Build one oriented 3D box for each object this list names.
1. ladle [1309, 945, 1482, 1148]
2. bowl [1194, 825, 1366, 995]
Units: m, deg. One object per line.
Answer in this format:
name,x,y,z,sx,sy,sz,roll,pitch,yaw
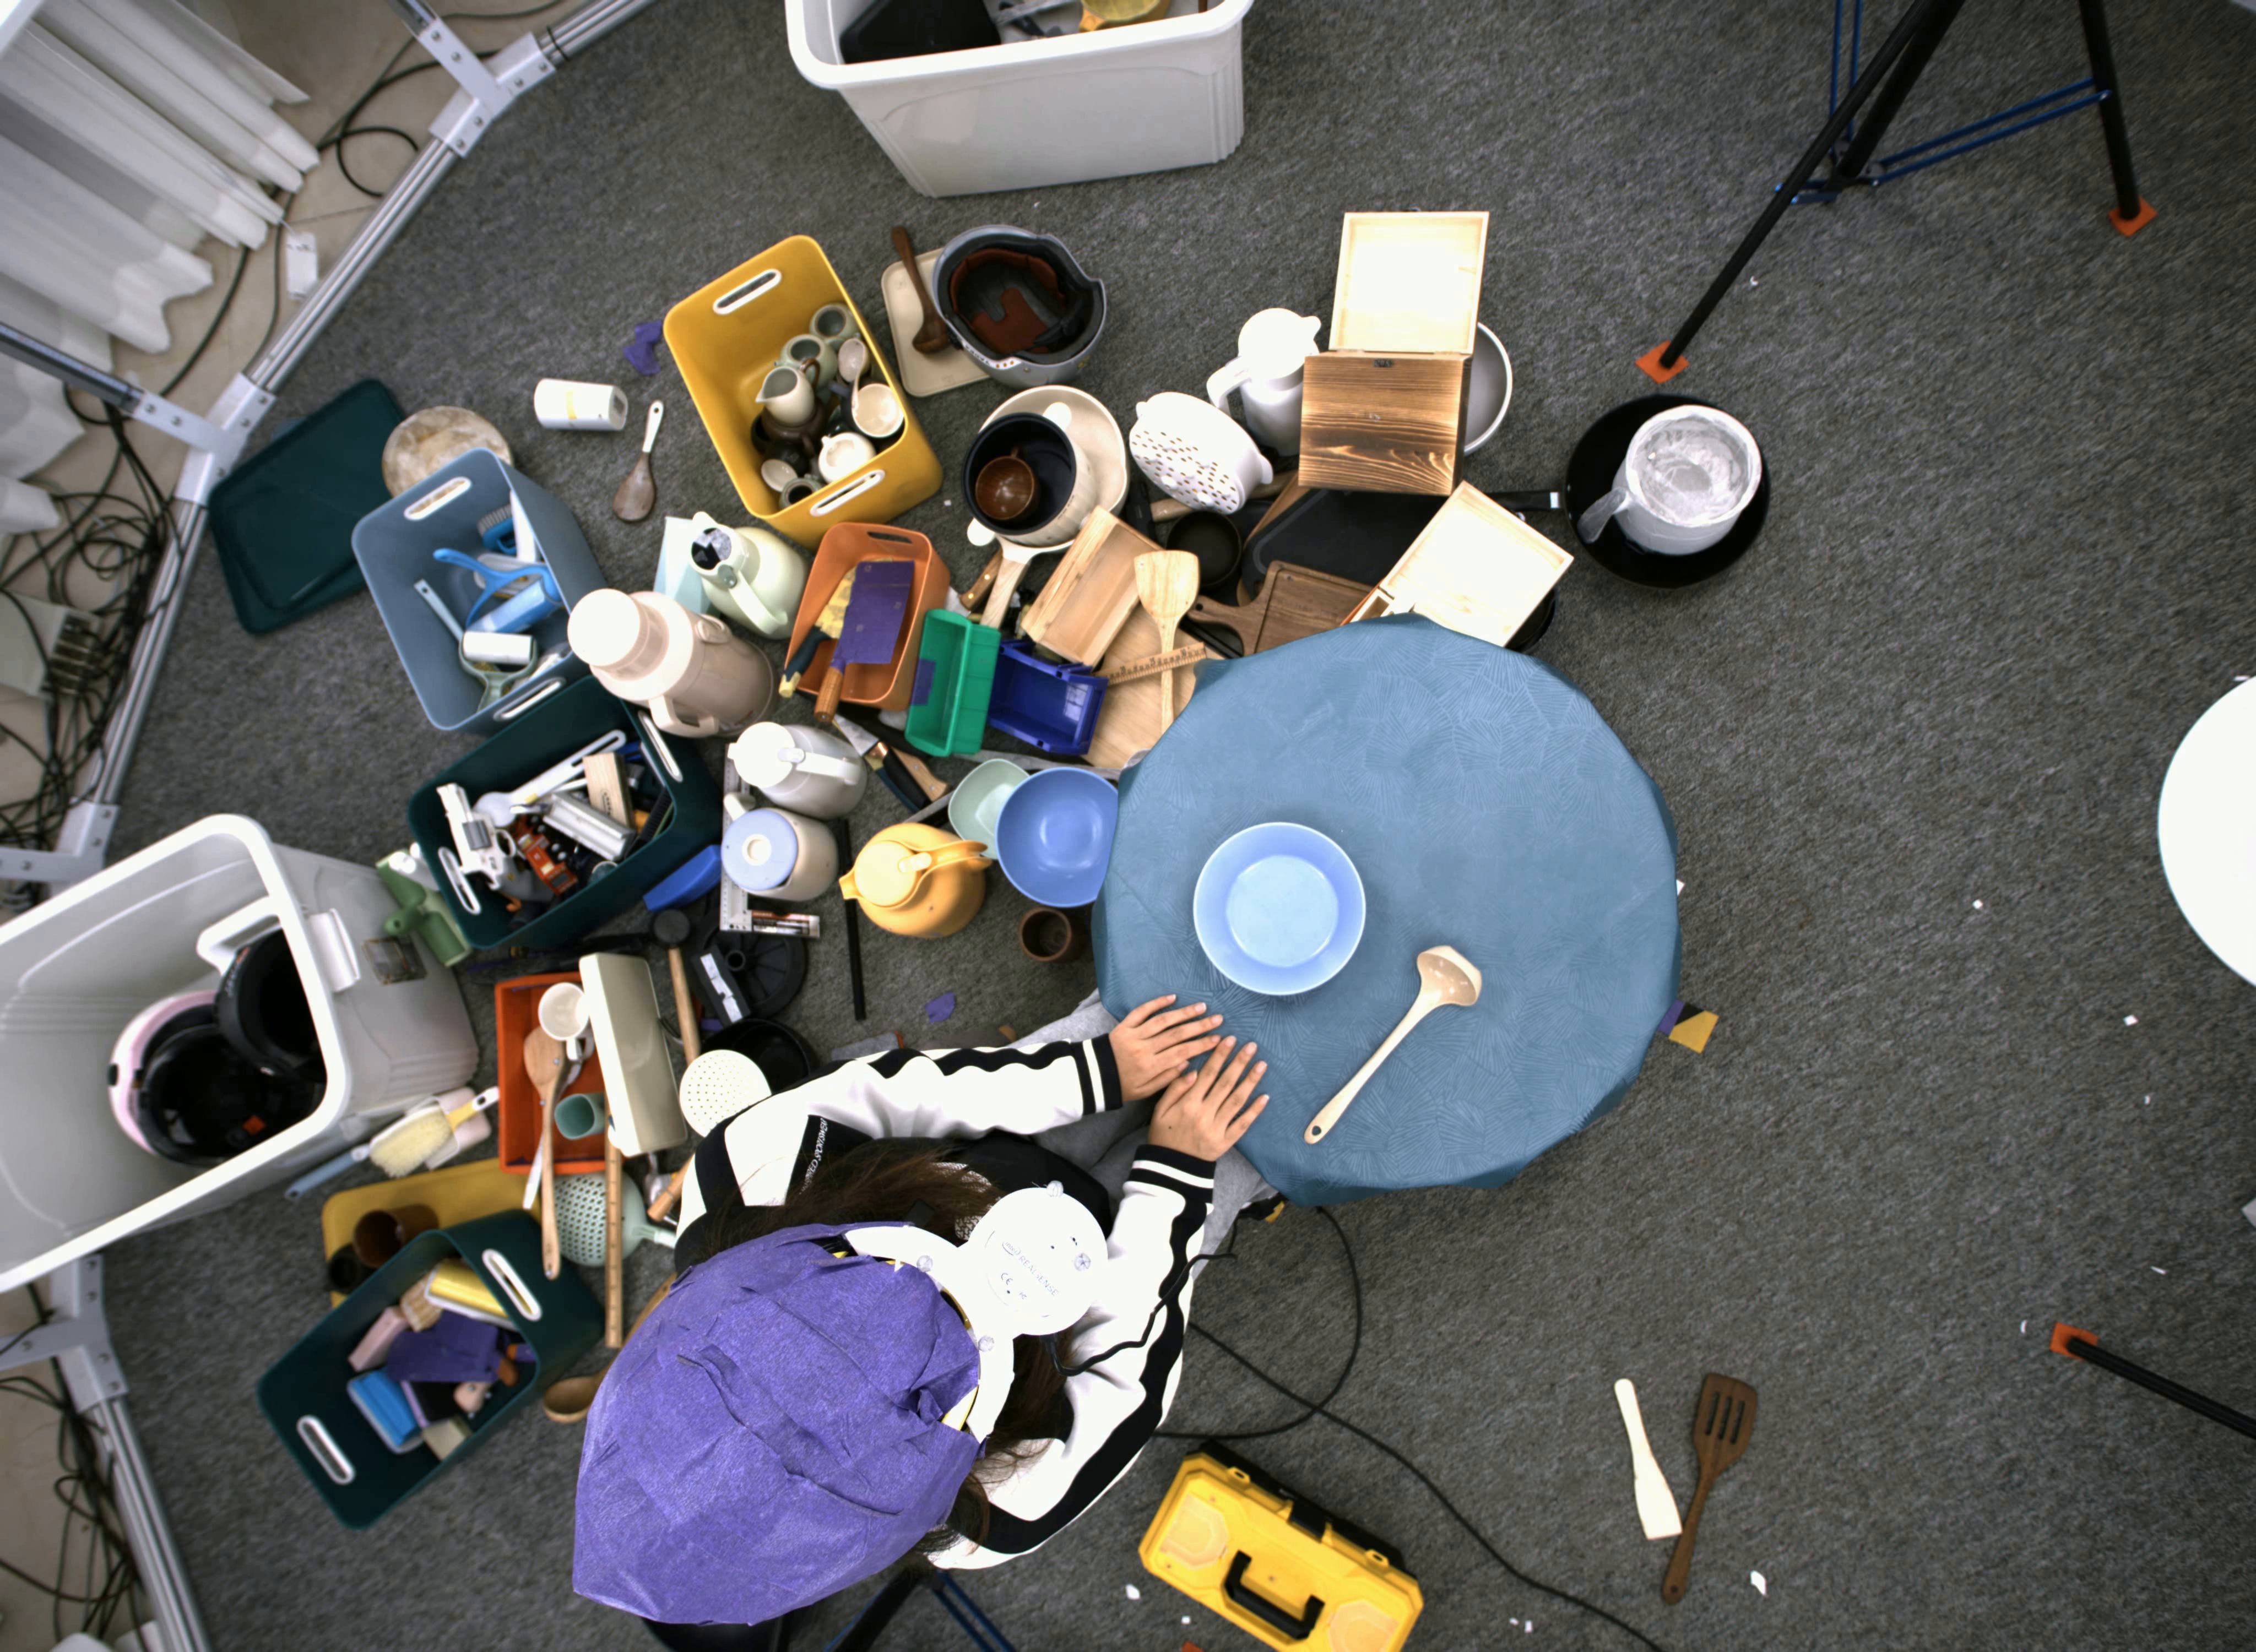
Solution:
ladle,0.266,0.231,1.415,0.072,0.073,0.255,38,94,11
bowl,0.160,0.088,1.444,0.177,0.070,0.175,-1,85,11
